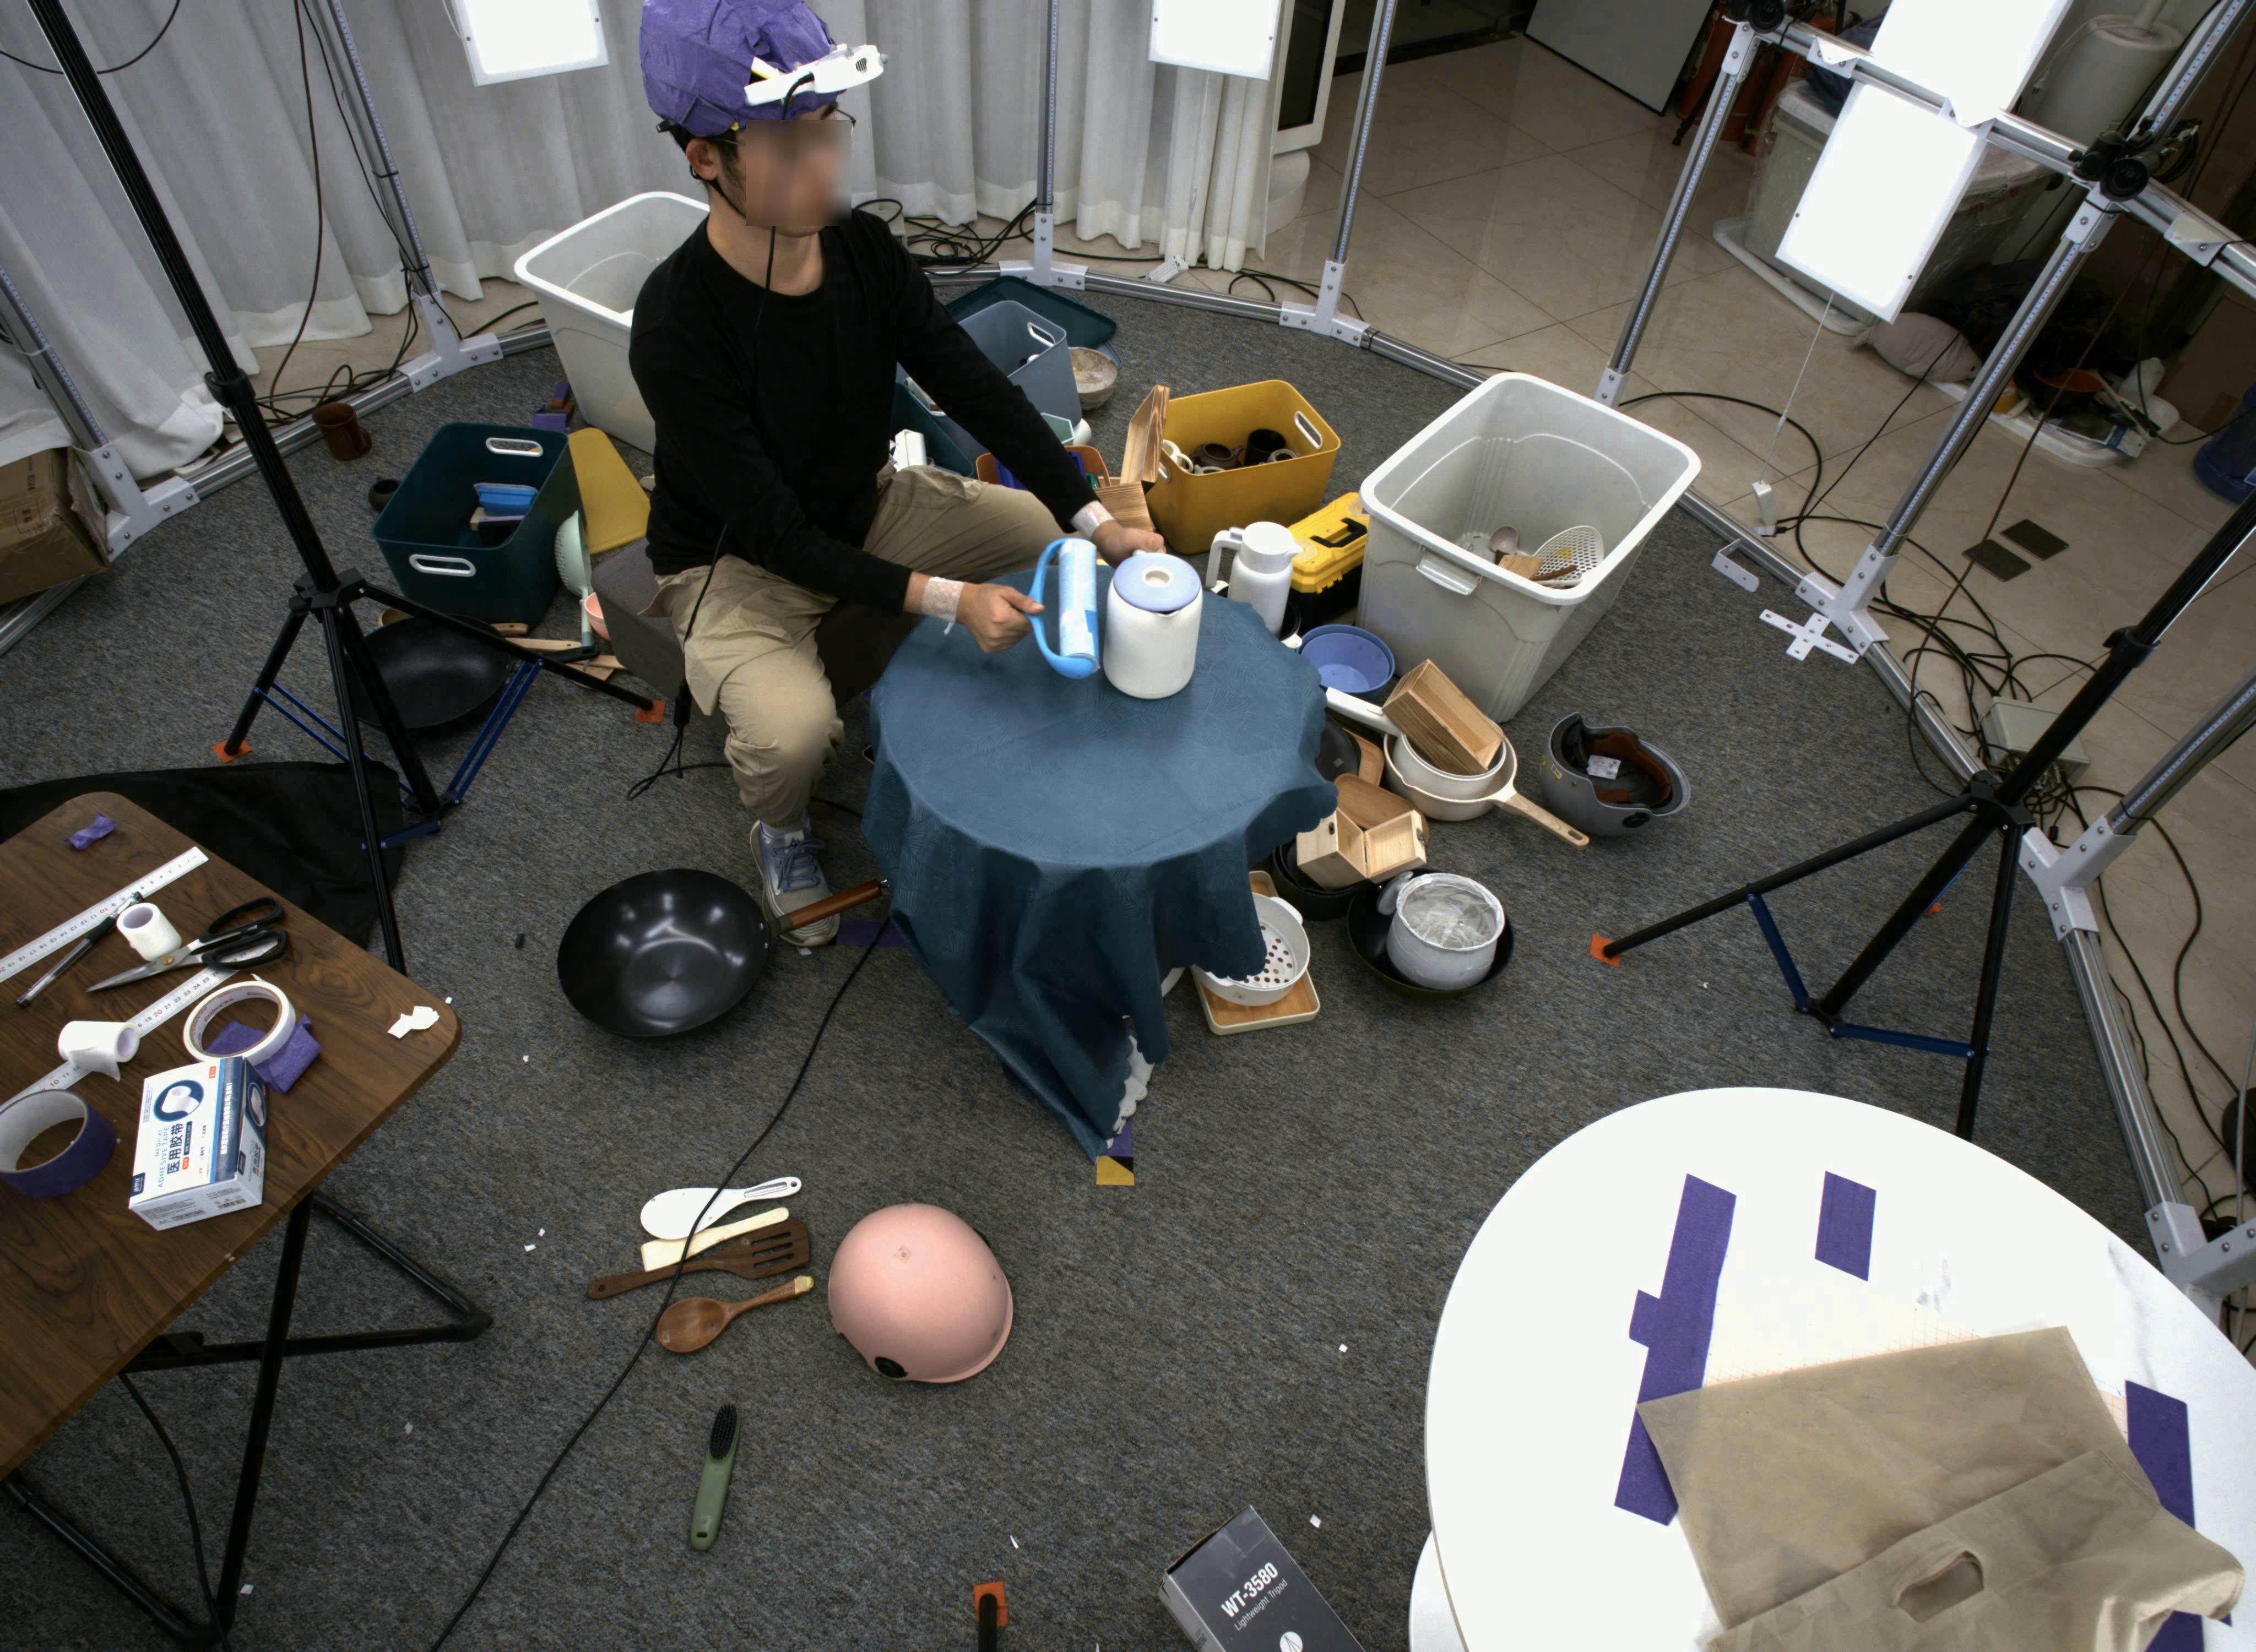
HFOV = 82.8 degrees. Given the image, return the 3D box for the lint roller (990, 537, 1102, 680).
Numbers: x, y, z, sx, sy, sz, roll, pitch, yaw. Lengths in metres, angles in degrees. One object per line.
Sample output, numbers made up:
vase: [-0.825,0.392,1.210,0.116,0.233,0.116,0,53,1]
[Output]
lint roller: [-0.122,-0.293,1.802,0.180,0.066,0.234,-12,62,15]

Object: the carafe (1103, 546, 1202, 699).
carafe: [0.028,-0.299,1.820,0.132,0.178,0.196,-8,49,-12]
